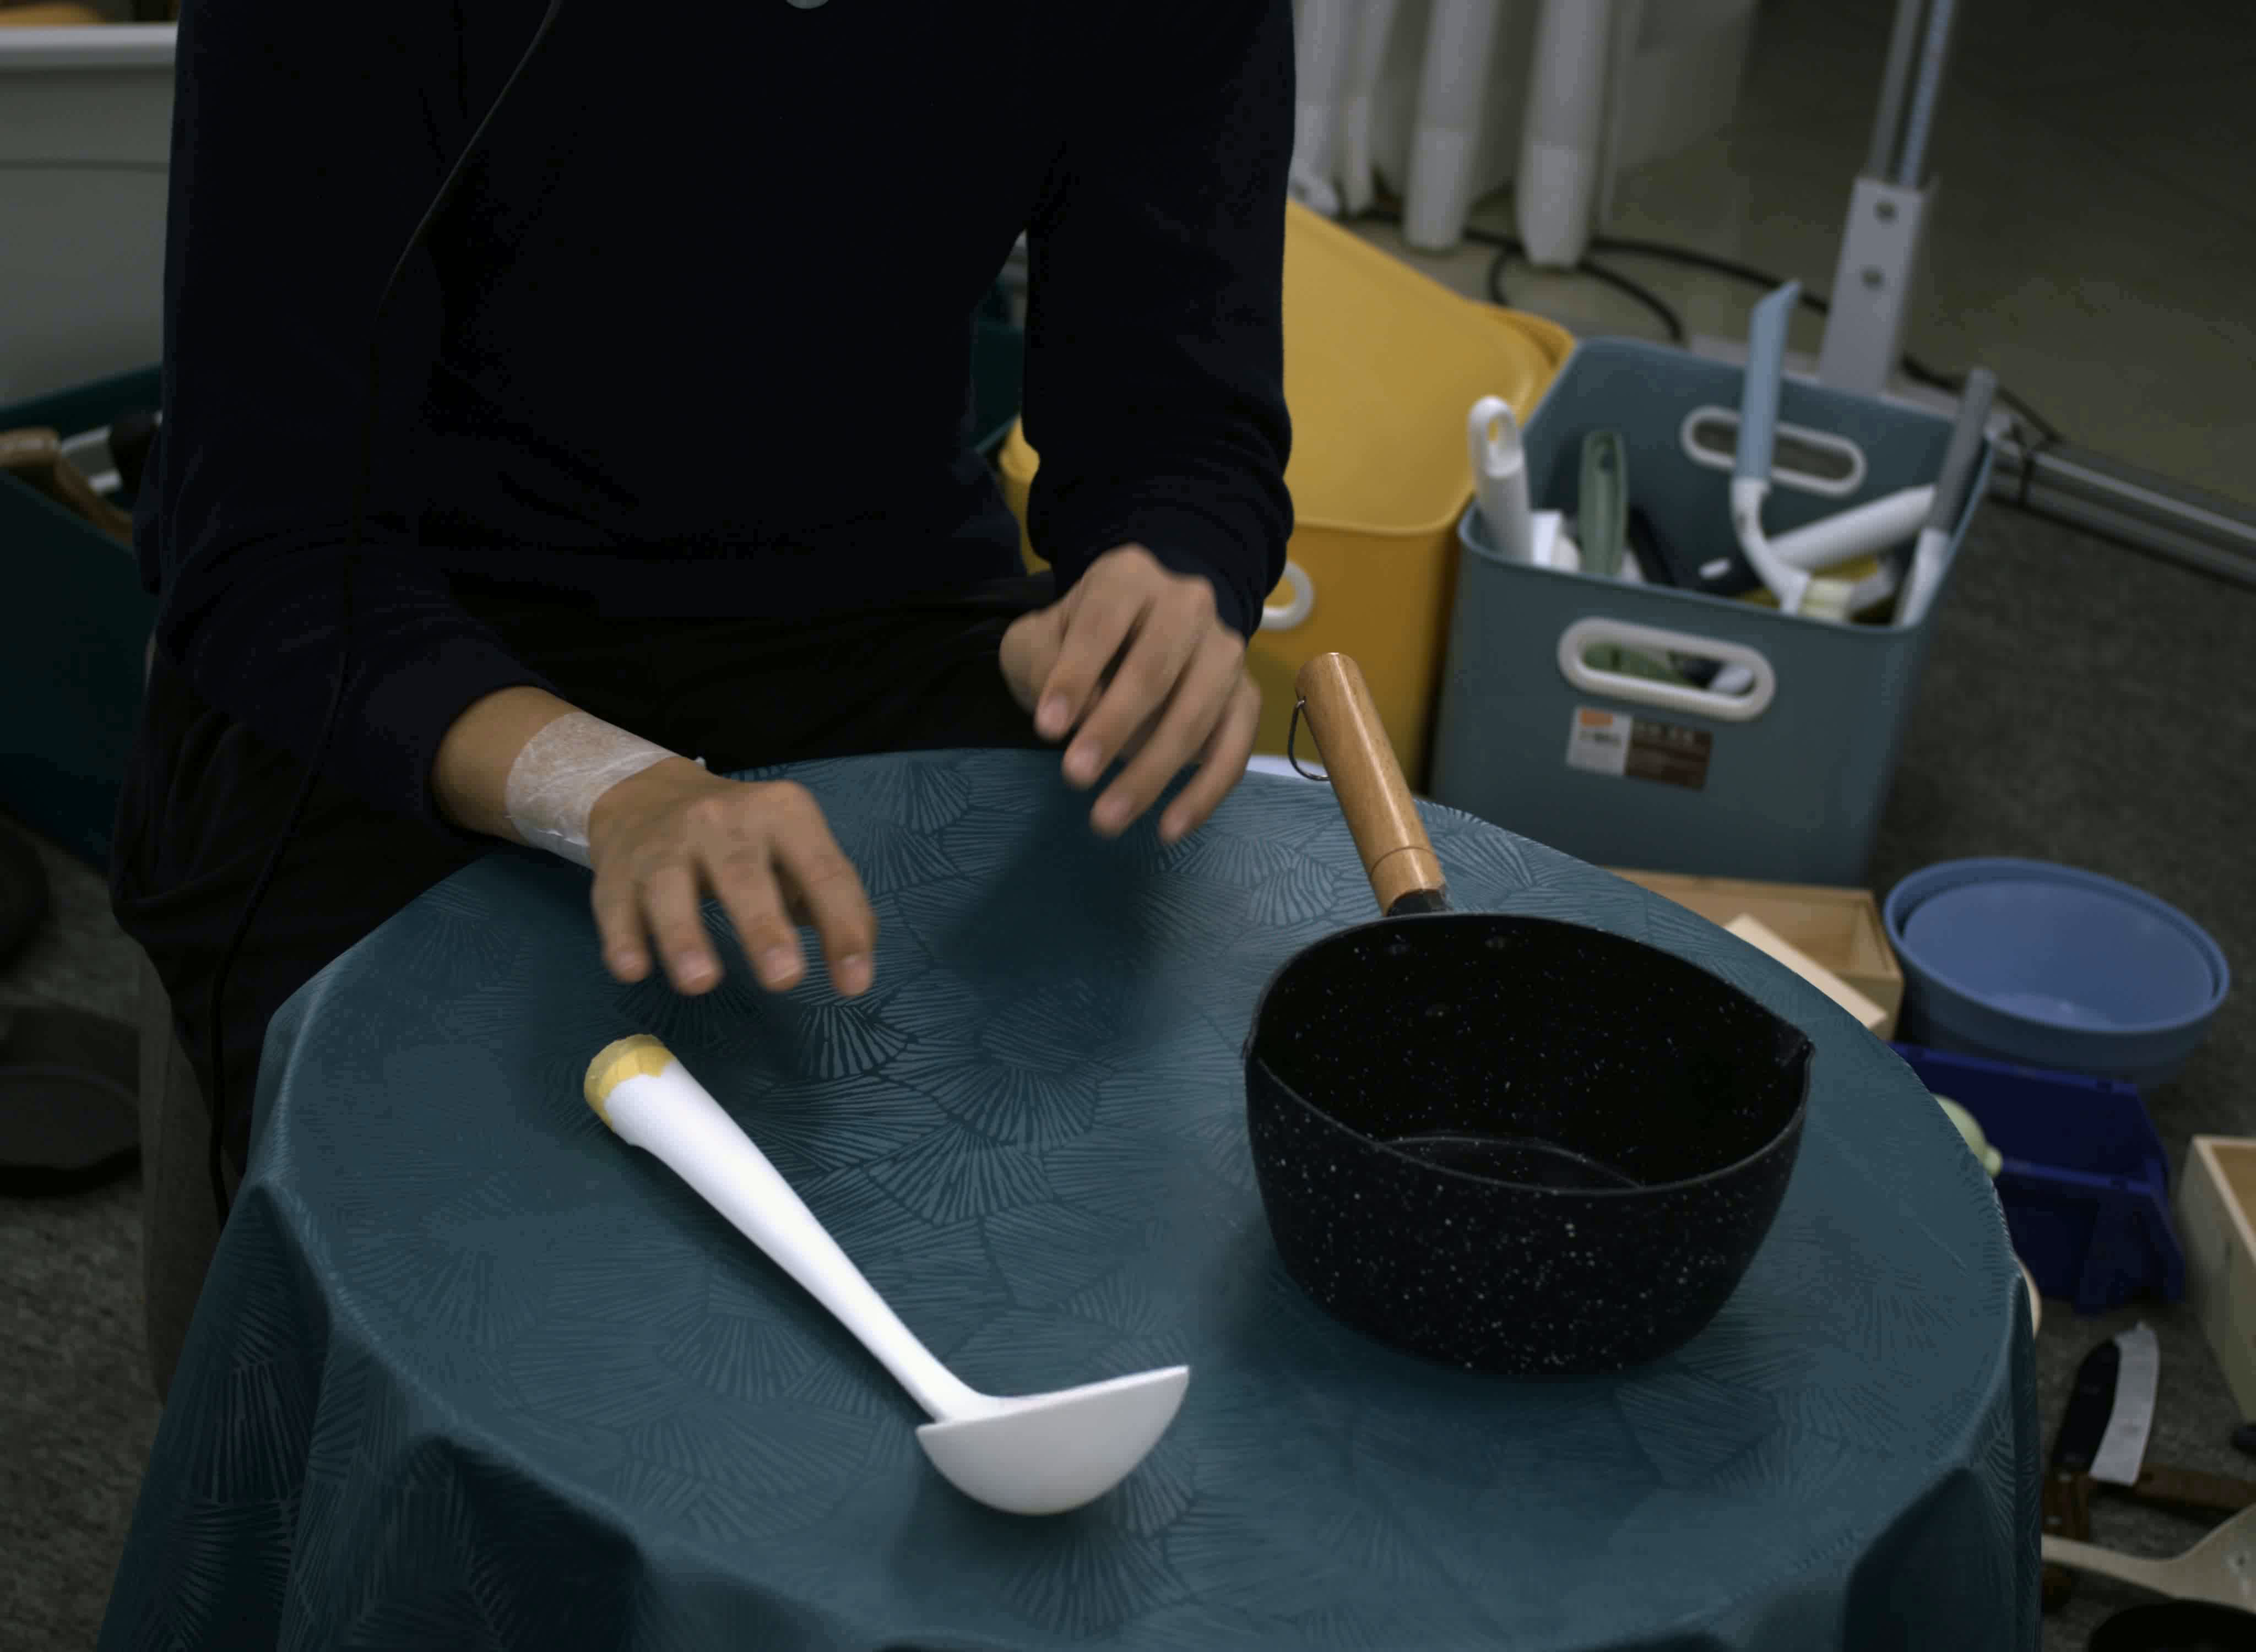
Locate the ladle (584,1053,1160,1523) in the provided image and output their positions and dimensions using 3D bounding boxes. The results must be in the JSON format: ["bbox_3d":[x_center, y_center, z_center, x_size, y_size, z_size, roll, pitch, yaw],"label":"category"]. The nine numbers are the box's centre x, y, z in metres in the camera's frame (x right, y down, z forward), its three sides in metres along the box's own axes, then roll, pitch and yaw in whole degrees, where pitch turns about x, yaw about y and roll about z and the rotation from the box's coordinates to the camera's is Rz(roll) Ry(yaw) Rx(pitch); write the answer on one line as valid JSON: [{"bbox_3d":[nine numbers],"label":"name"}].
[{"bbox_3d":[-0.093,0.135,1.691,0.089,0.069,0.295,-16,33,-28],"label":"ladle"}]

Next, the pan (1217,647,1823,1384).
[{"bbox_3d":[0.108,0.062,1.830,0.206,0.108,0.346,-3,30,-16],"label":"pan"}]
